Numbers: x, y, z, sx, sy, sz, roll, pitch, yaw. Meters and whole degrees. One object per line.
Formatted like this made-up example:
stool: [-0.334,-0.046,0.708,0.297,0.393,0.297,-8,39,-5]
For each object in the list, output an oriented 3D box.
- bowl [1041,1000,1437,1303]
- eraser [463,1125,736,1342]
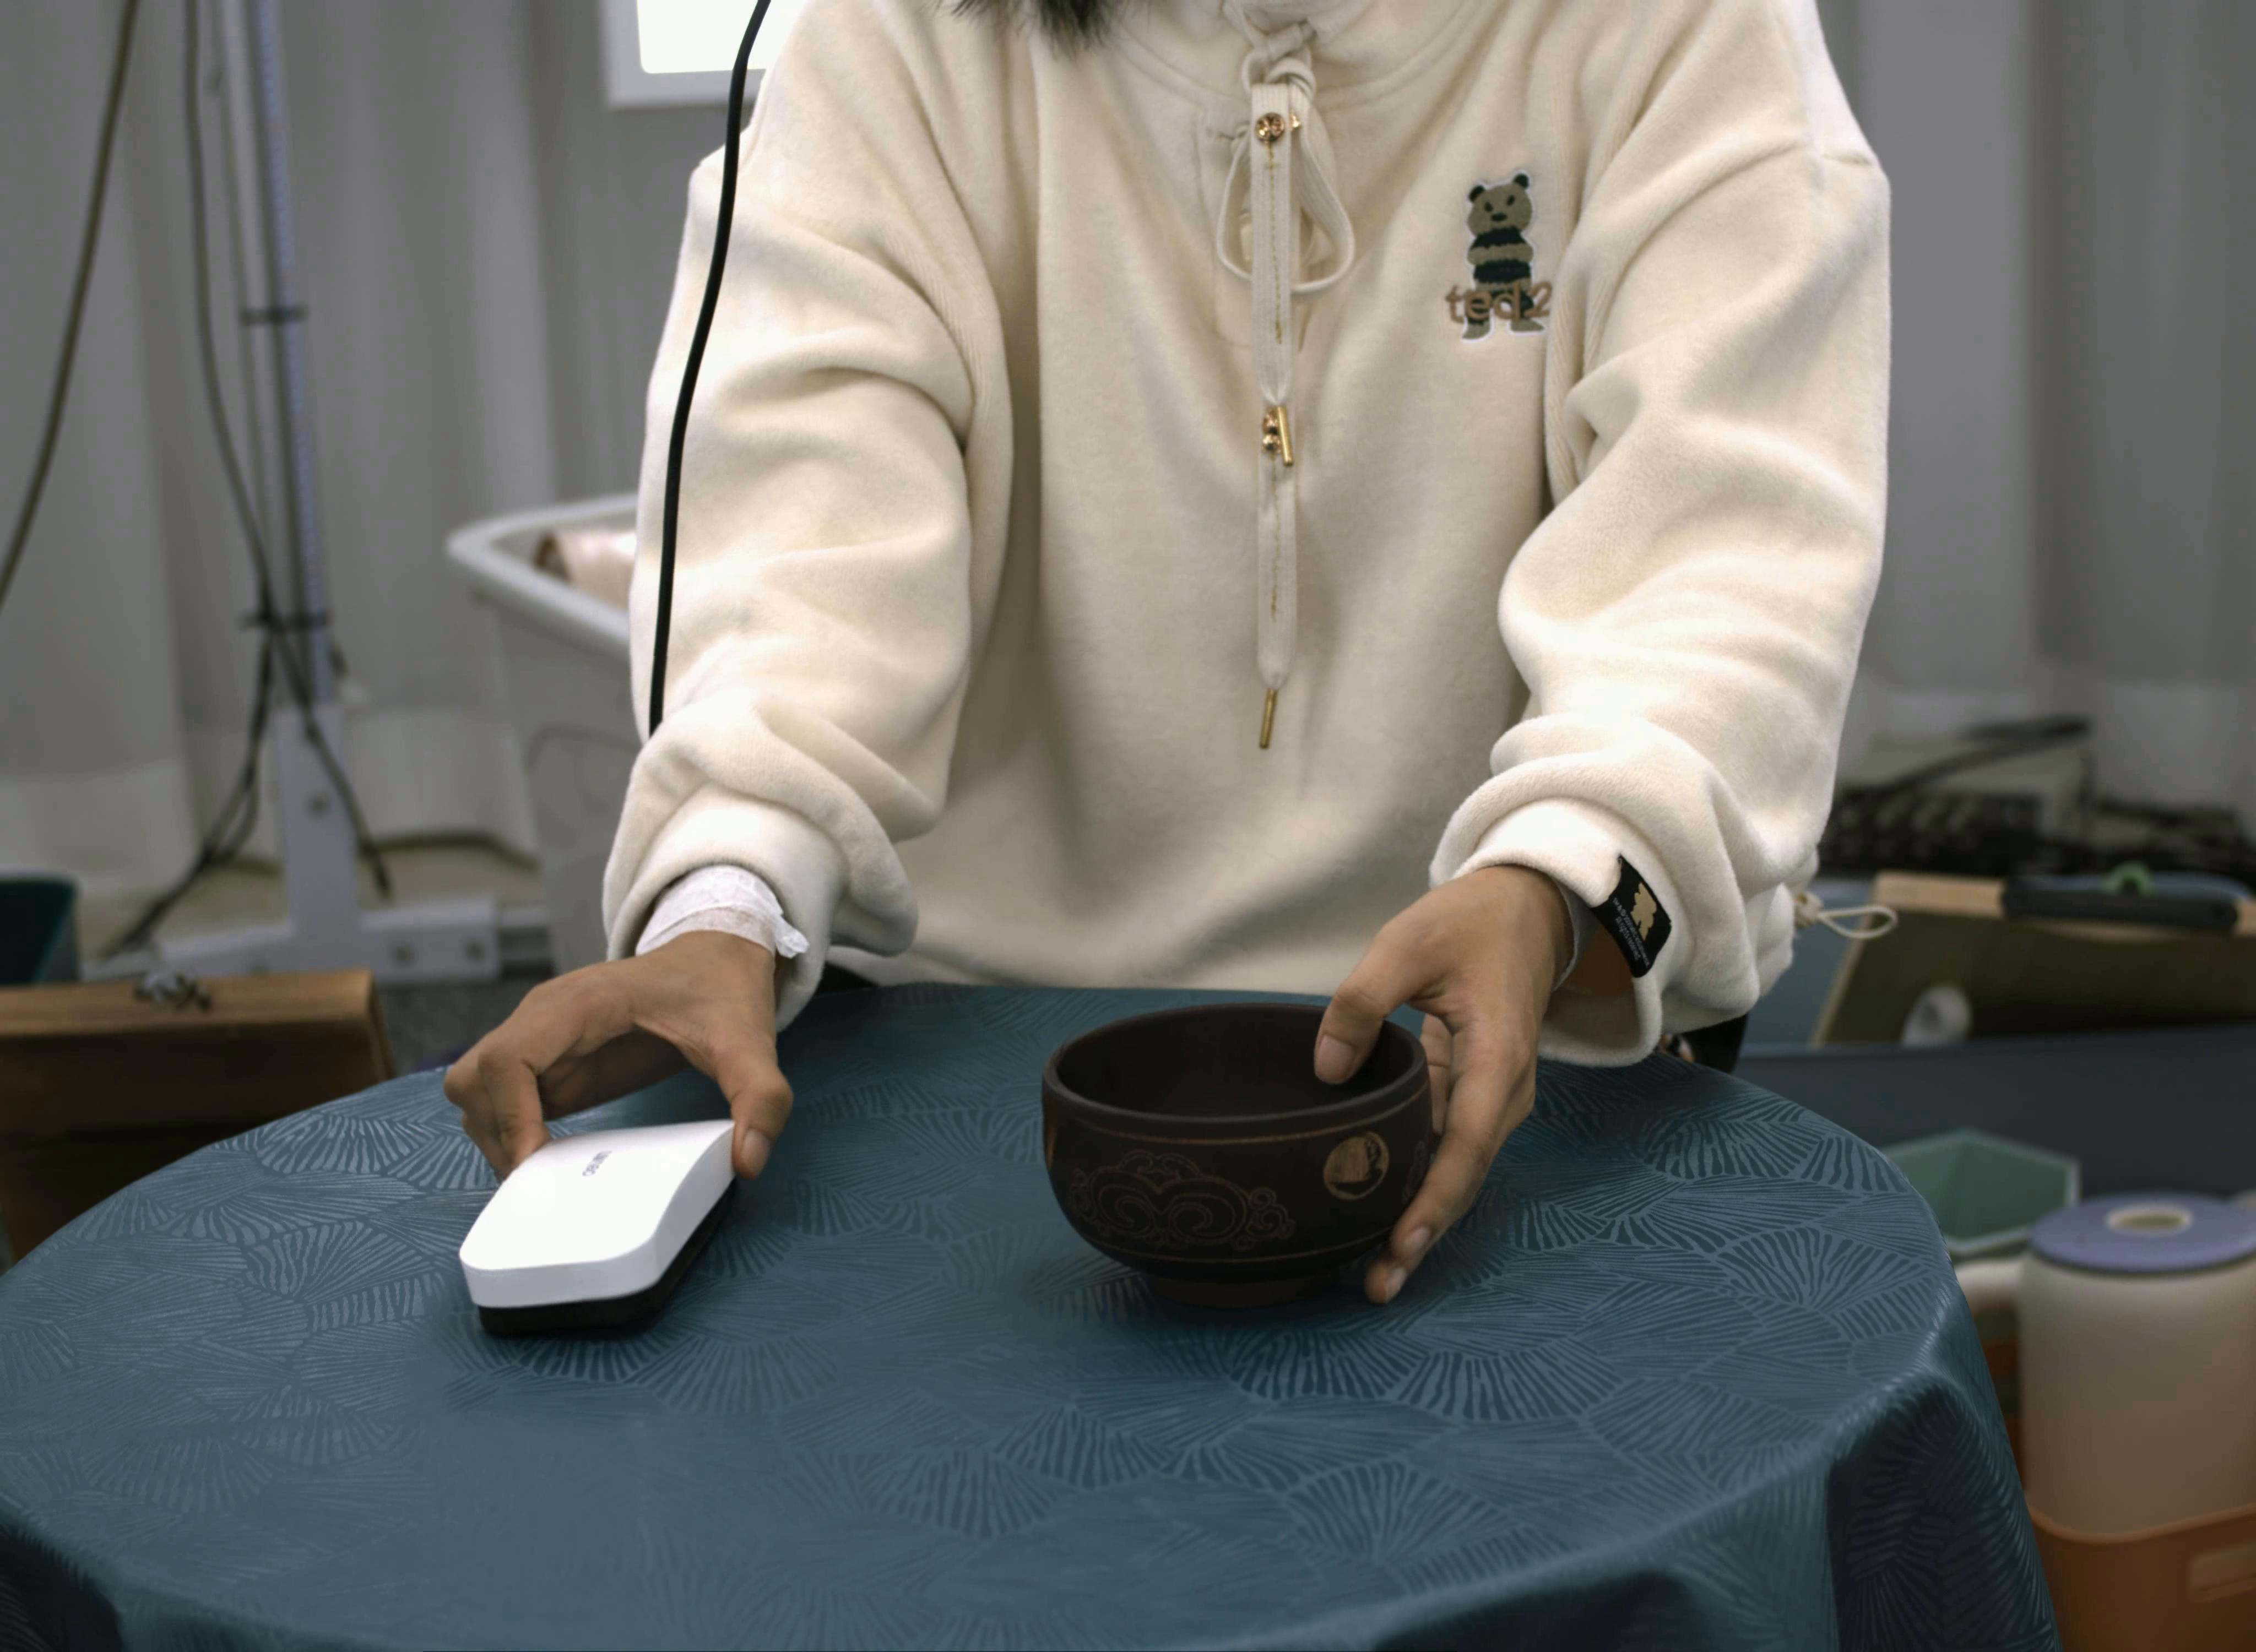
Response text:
bowl: [0.033,0.100,1.623,0.117,0.069,0.119,-1,14,0]
eraser: [-0.157,0.119,1.661,0.063,0.034,0.132,-4,15,10]
